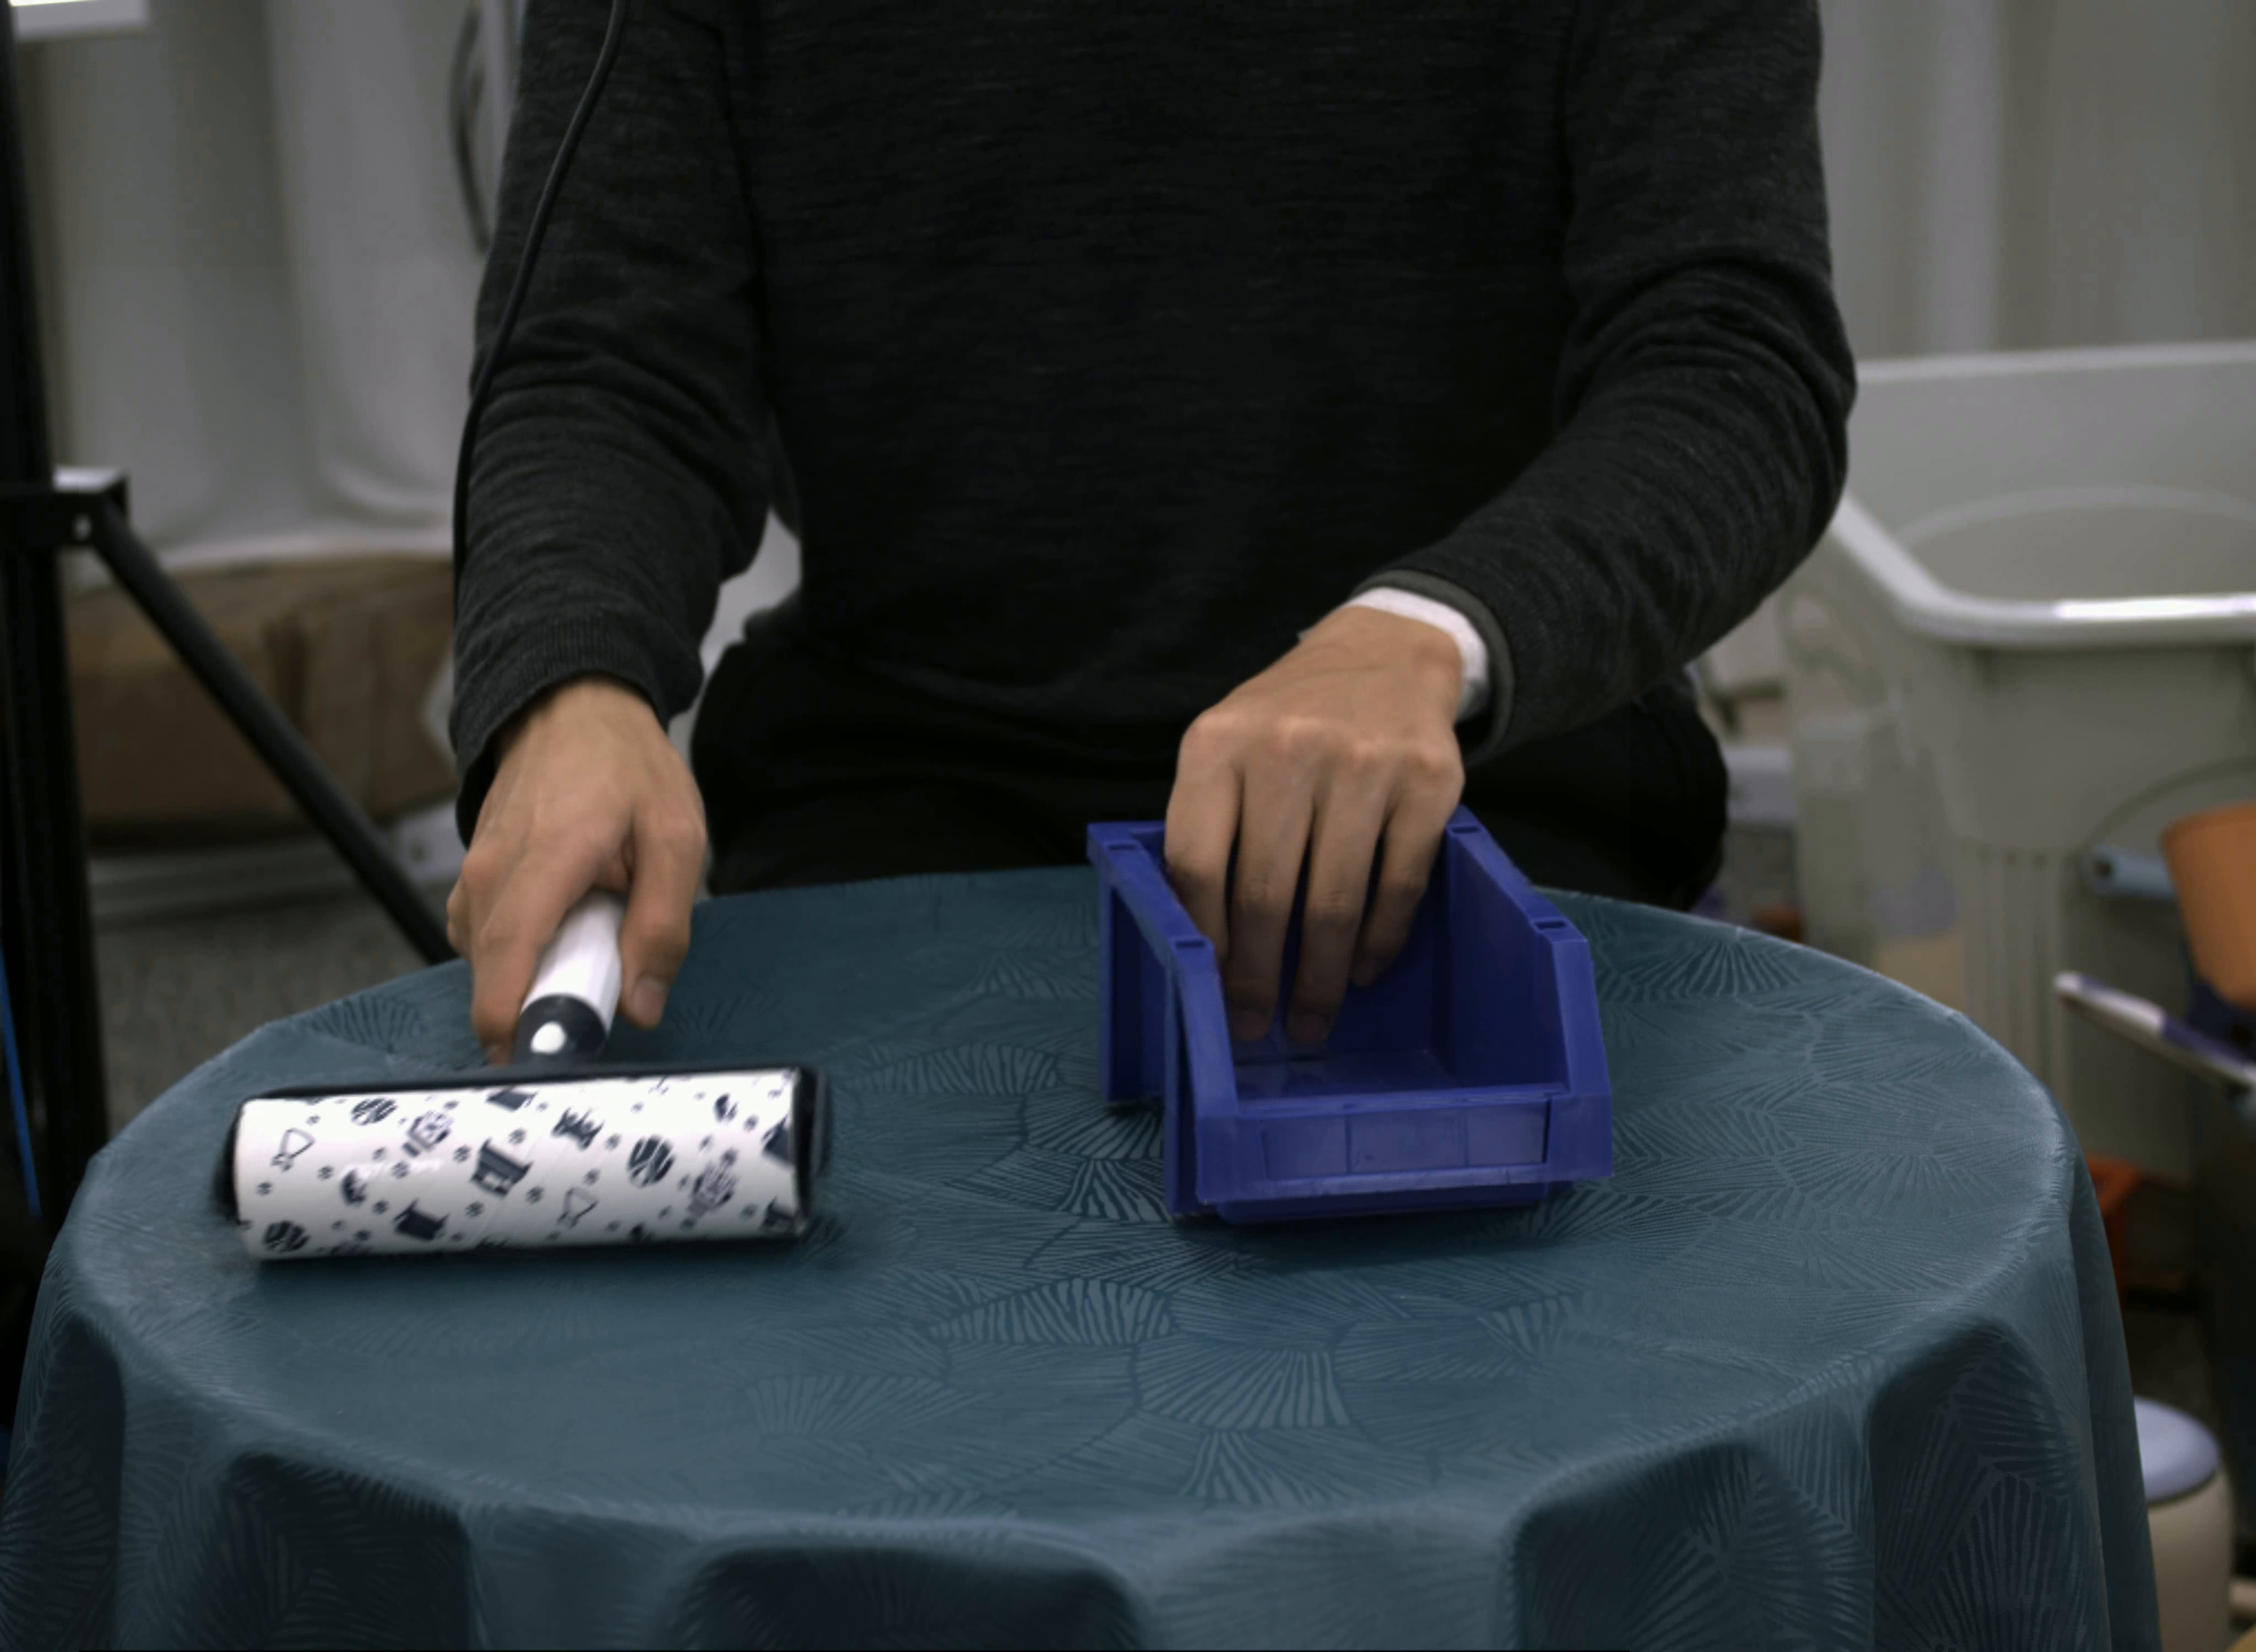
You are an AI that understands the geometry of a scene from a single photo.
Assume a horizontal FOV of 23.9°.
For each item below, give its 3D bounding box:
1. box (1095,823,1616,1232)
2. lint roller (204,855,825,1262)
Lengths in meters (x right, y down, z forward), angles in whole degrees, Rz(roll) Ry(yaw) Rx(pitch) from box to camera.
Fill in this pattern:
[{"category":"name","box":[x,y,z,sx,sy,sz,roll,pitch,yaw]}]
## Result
[{"category":"box","box":[0.066,0.061,1.558,0.123,0.082,0.181,-3,13,-8]},{"category":"lint roller","box":[-0.174,0.059,1.620,0.176,0.050,0.248,-4,24,3]}]
